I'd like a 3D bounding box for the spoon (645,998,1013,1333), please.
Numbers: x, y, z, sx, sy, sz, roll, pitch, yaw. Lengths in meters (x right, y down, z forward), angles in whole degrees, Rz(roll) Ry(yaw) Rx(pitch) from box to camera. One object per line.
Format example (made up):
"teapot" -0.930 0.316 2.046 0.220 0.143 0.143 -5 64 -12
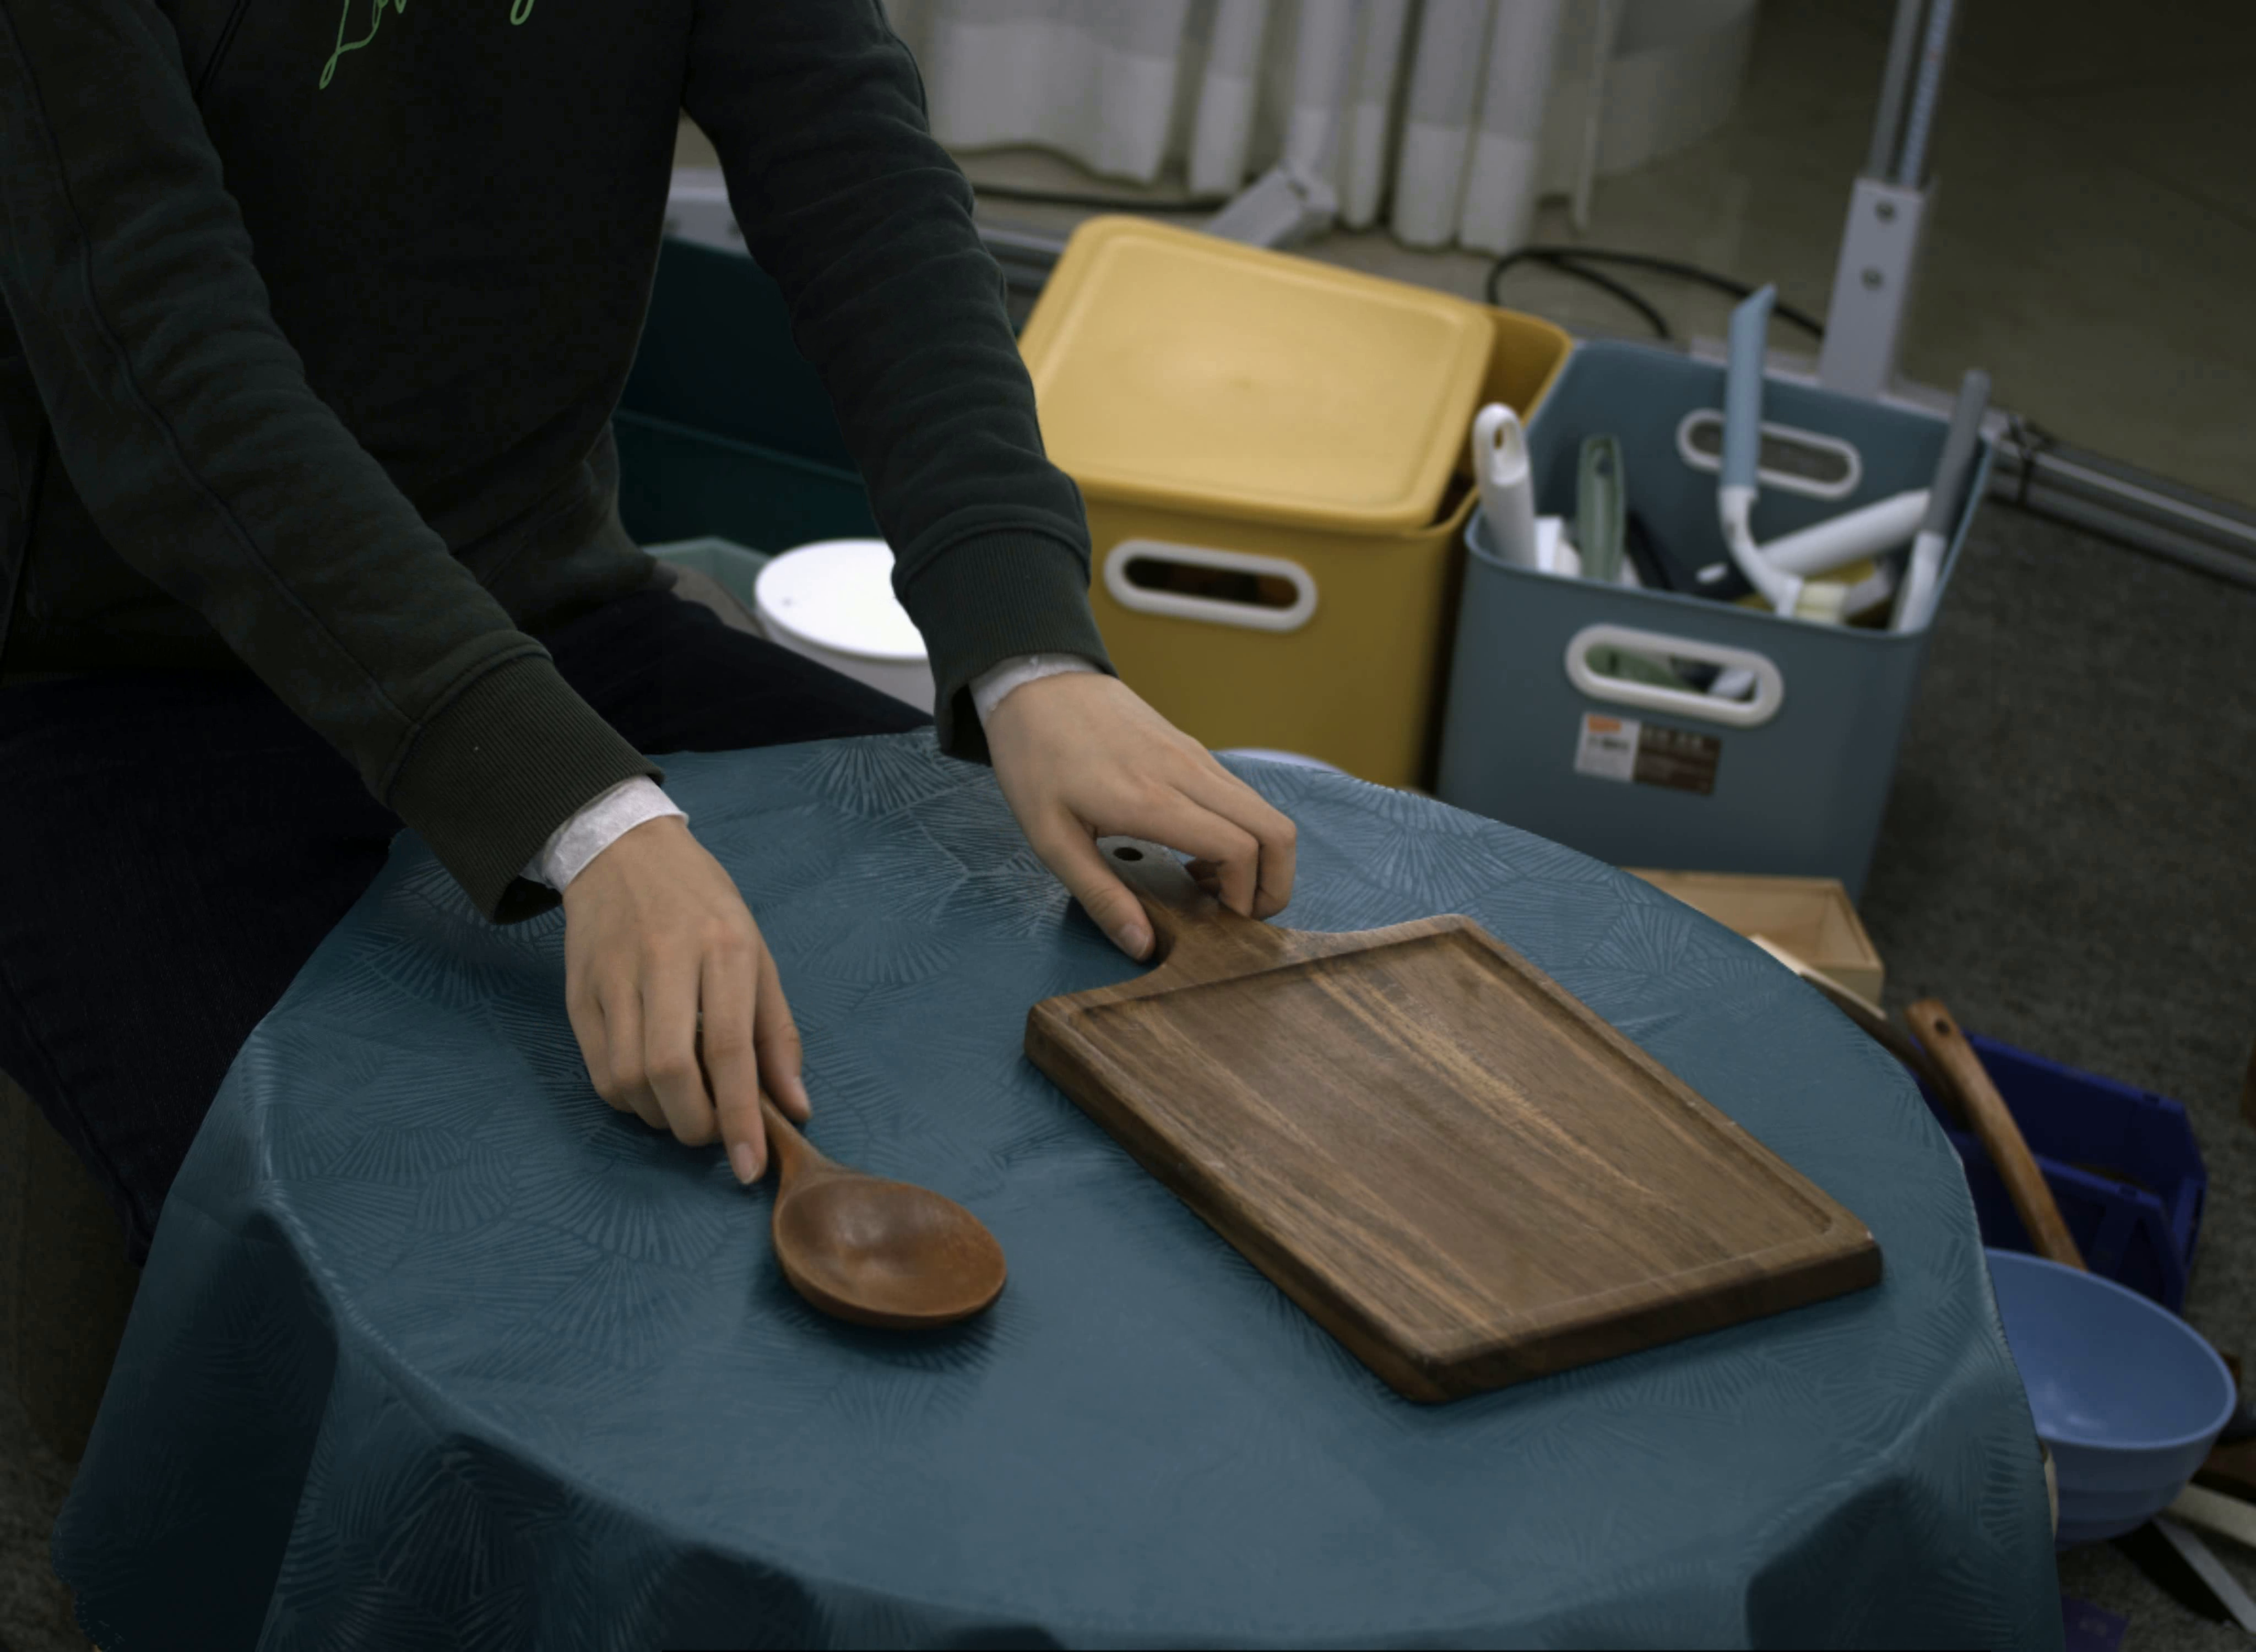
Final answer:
"spoon" -0.108 0.114 1.776 0.075 0.017 0.218 -11 32 -27

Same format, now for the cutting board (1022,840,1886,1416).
"cutting board" 0.083 0.089 1.868 0.200 0.023 0.355 -12 32 -30
